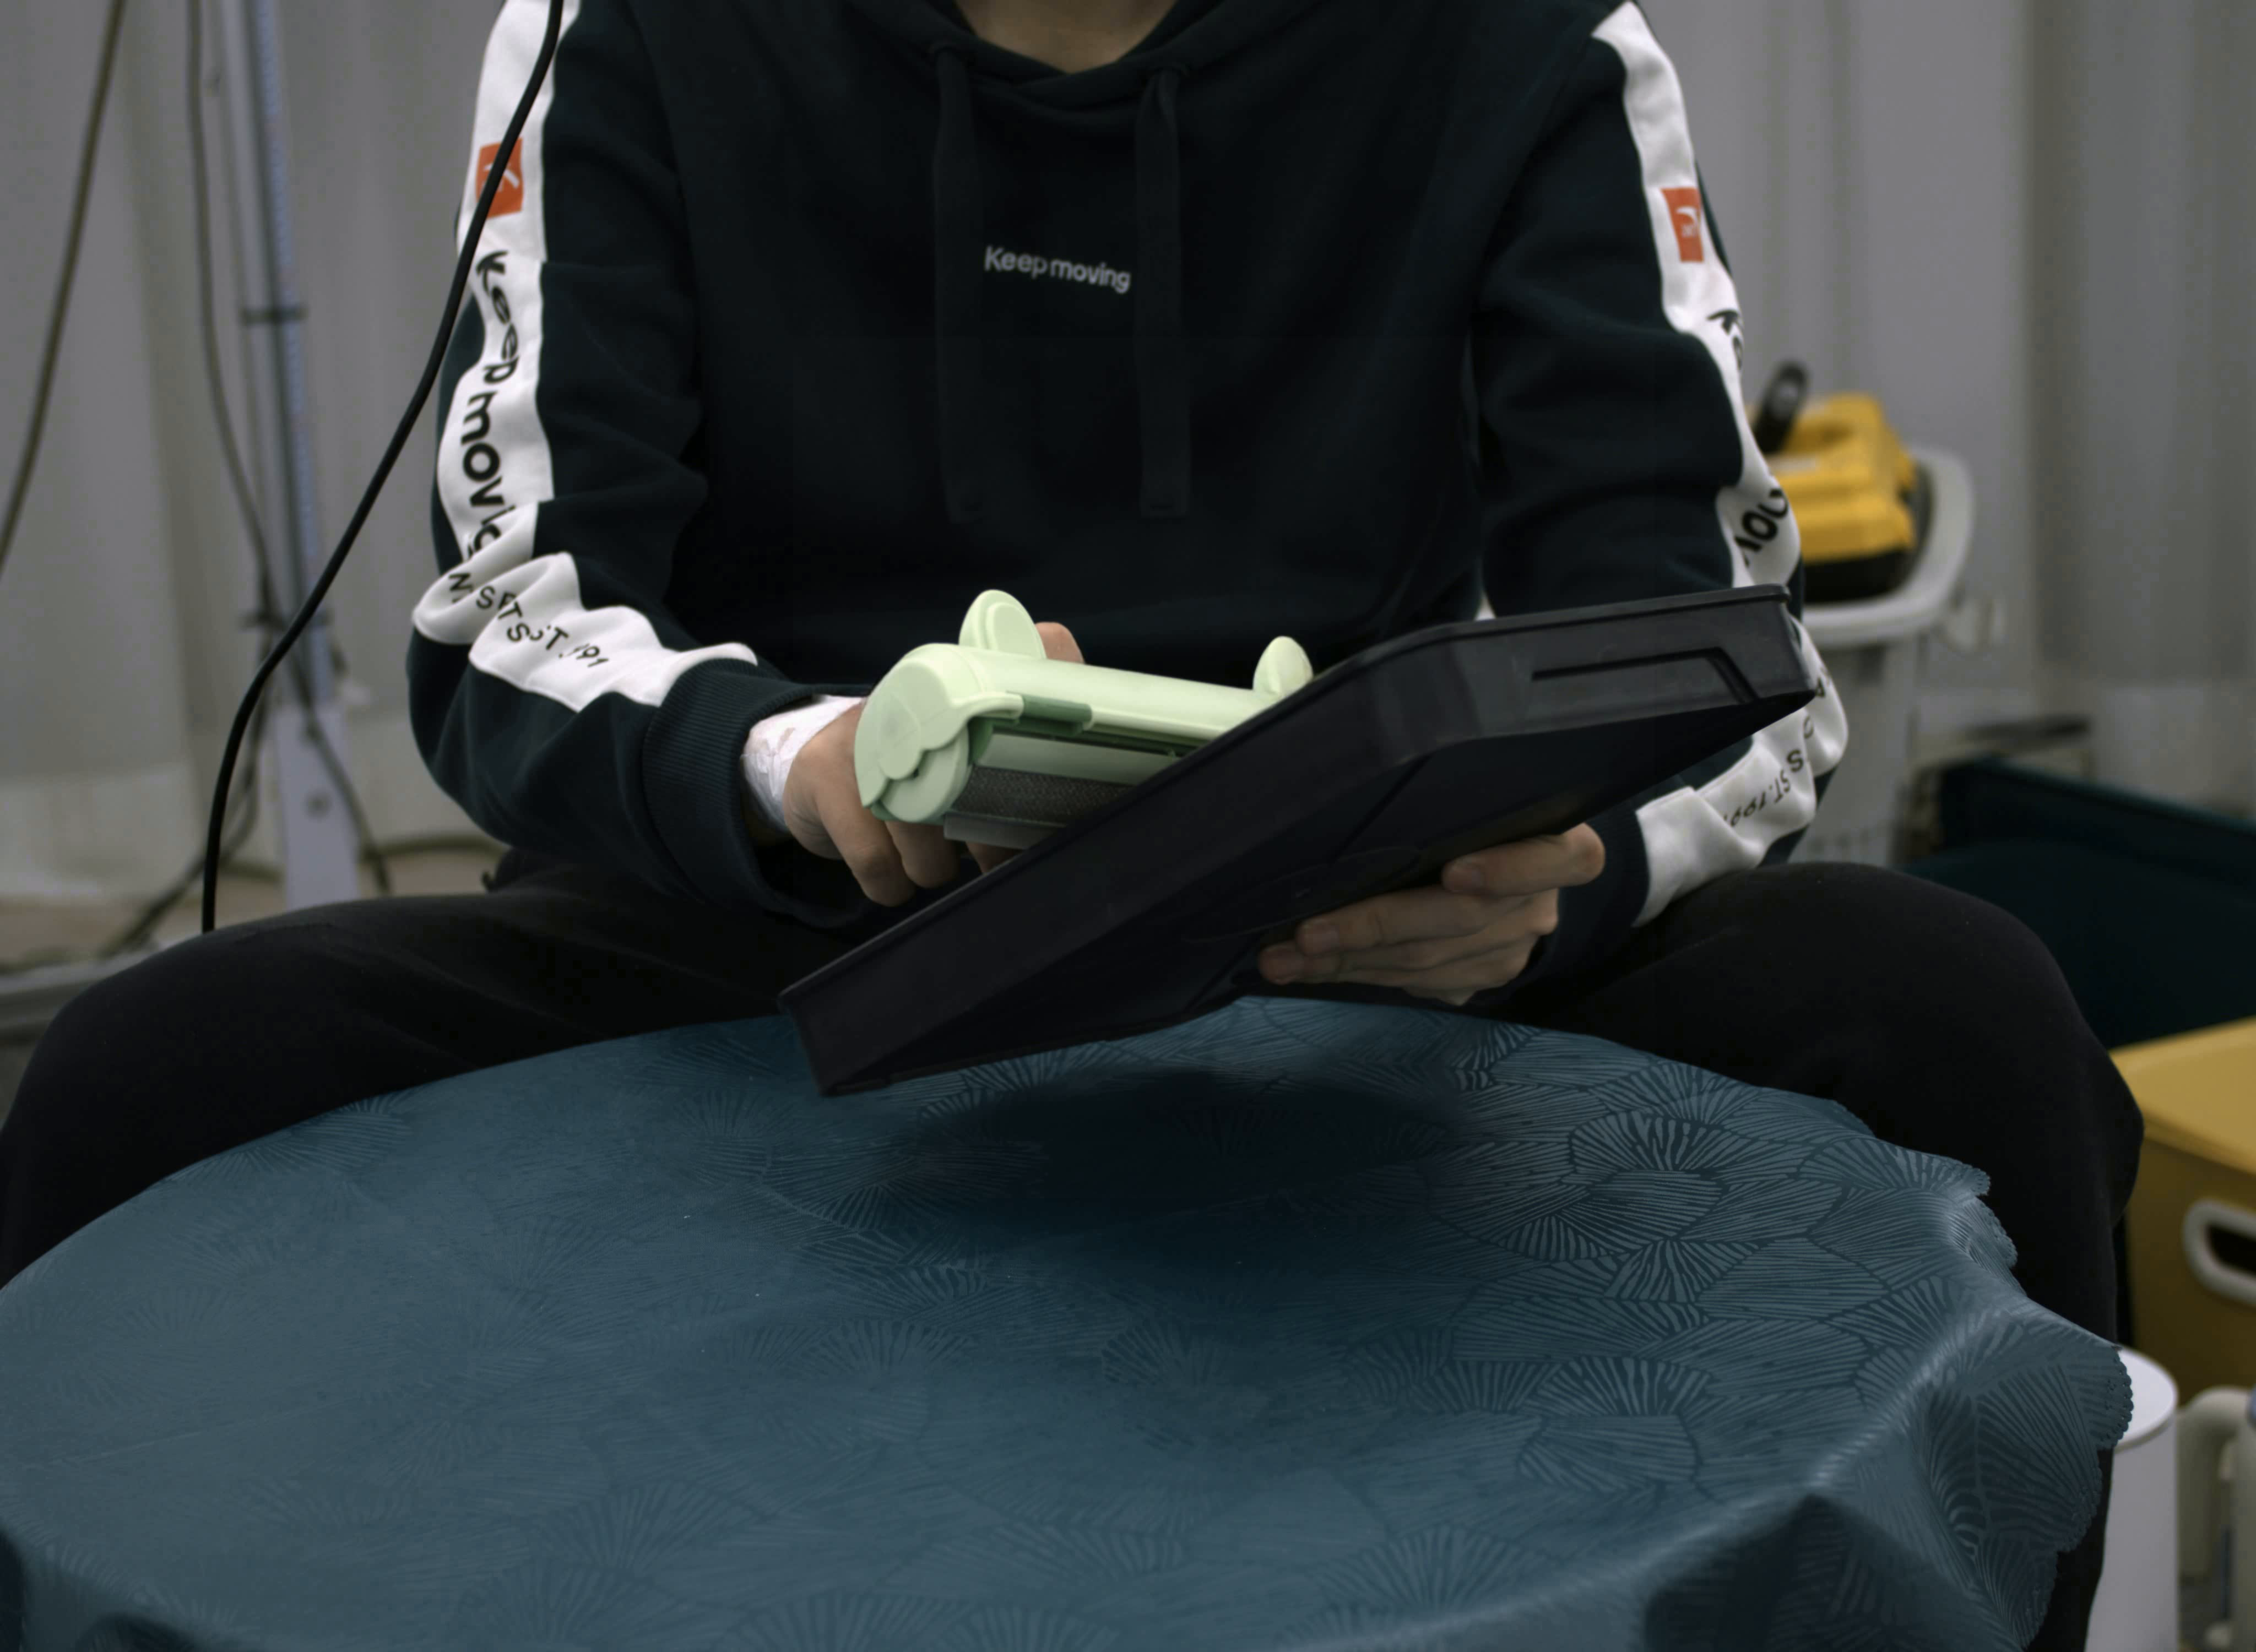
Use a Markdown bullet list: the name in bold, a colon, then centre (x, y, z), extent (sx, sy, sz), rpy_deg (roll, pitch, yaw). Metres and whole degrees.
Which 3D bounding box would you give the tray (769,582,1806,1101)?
- **tray**: centre (0.045, 0.008, 1.677), extent (0.183, 0.037, 0.316), rpy_deg (-9, -15, -43)

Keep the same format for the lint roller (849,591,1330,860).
- **lint roller**: centre (-0.026, -0.027, 1.705), extent (0.197, 0.082, 0.184), rpy_deg (7, -2, -38)
